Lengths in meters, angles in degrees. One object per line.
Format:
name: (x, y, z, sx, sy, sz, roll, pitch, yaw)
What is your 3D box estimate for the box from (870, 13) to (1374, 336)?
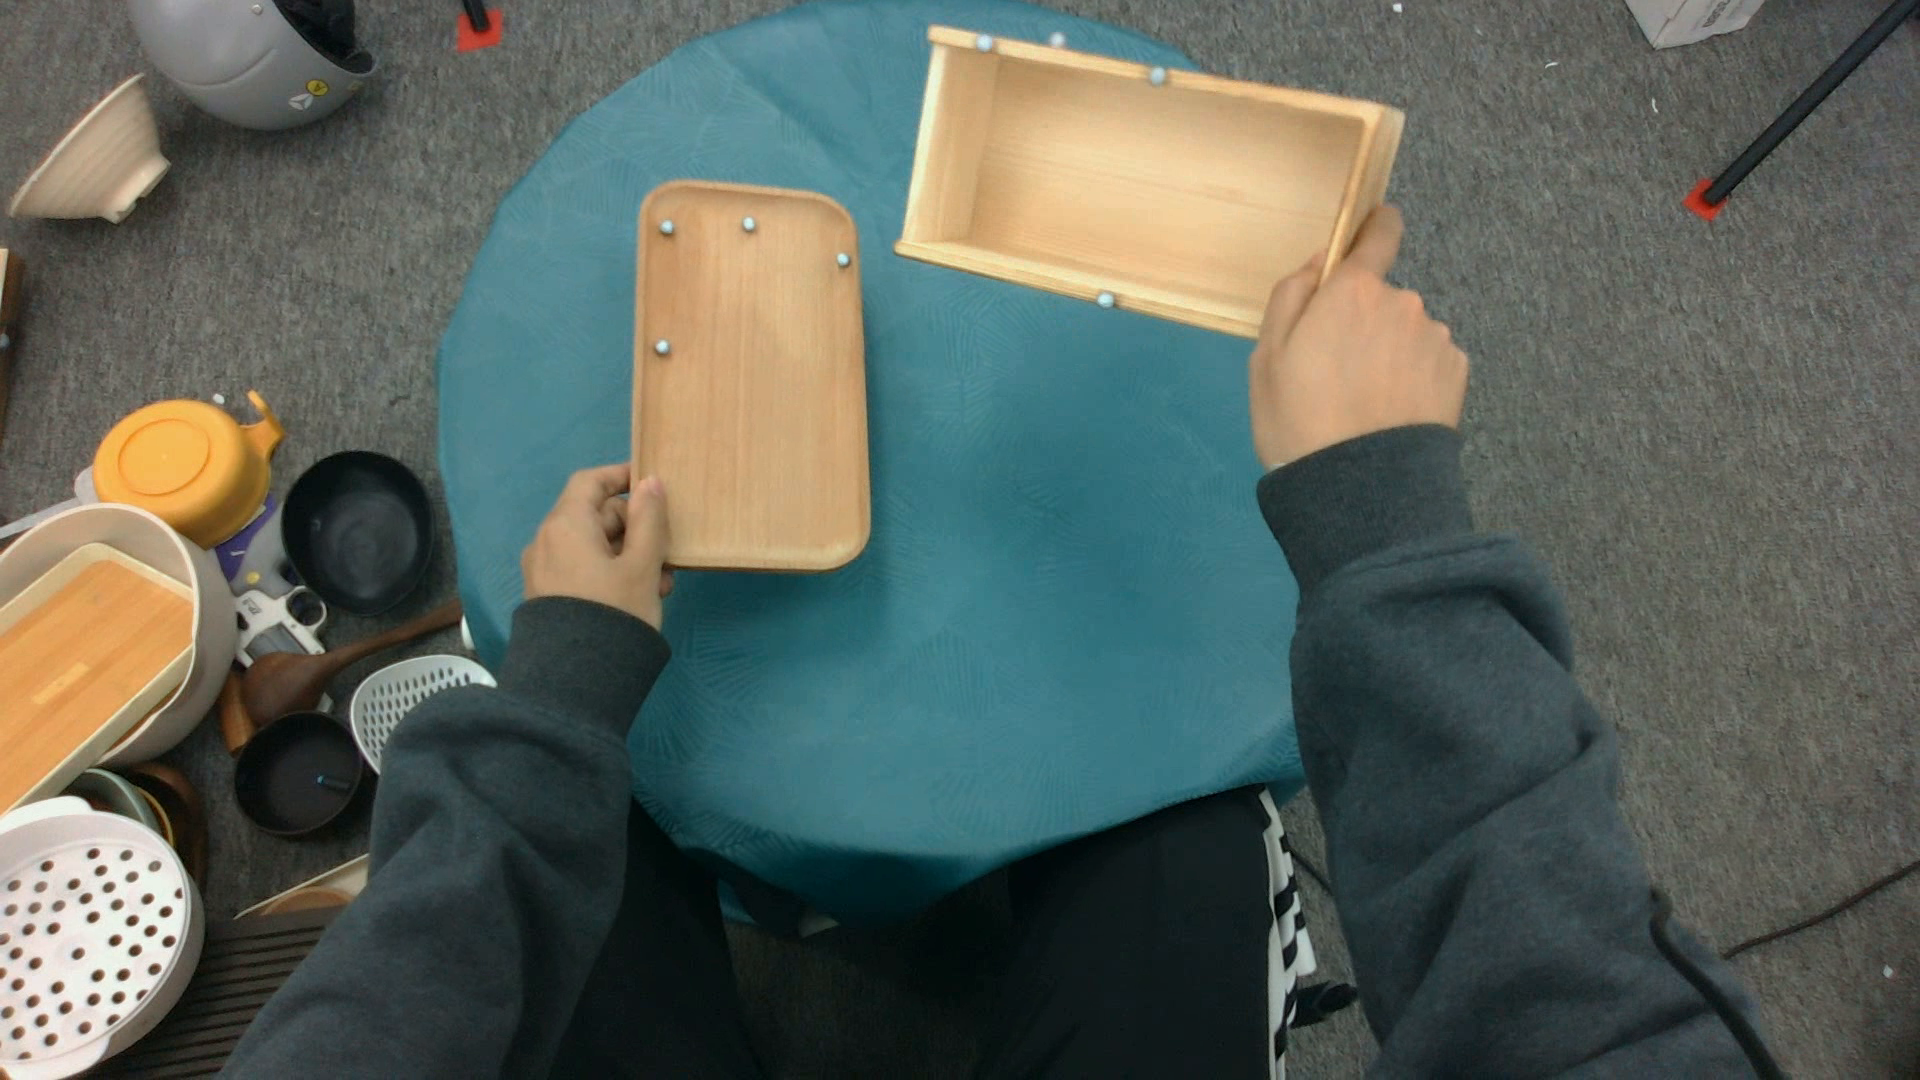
box: (0.074, -0.176, 0.652, 0.211, 0.080, 0.107, 16, 111, 19)

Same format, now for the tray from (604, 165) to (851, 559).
tray: (-0.130, -0.103, 0.768, 0.131, 0.023, 0.251, 0, 65, -11)
